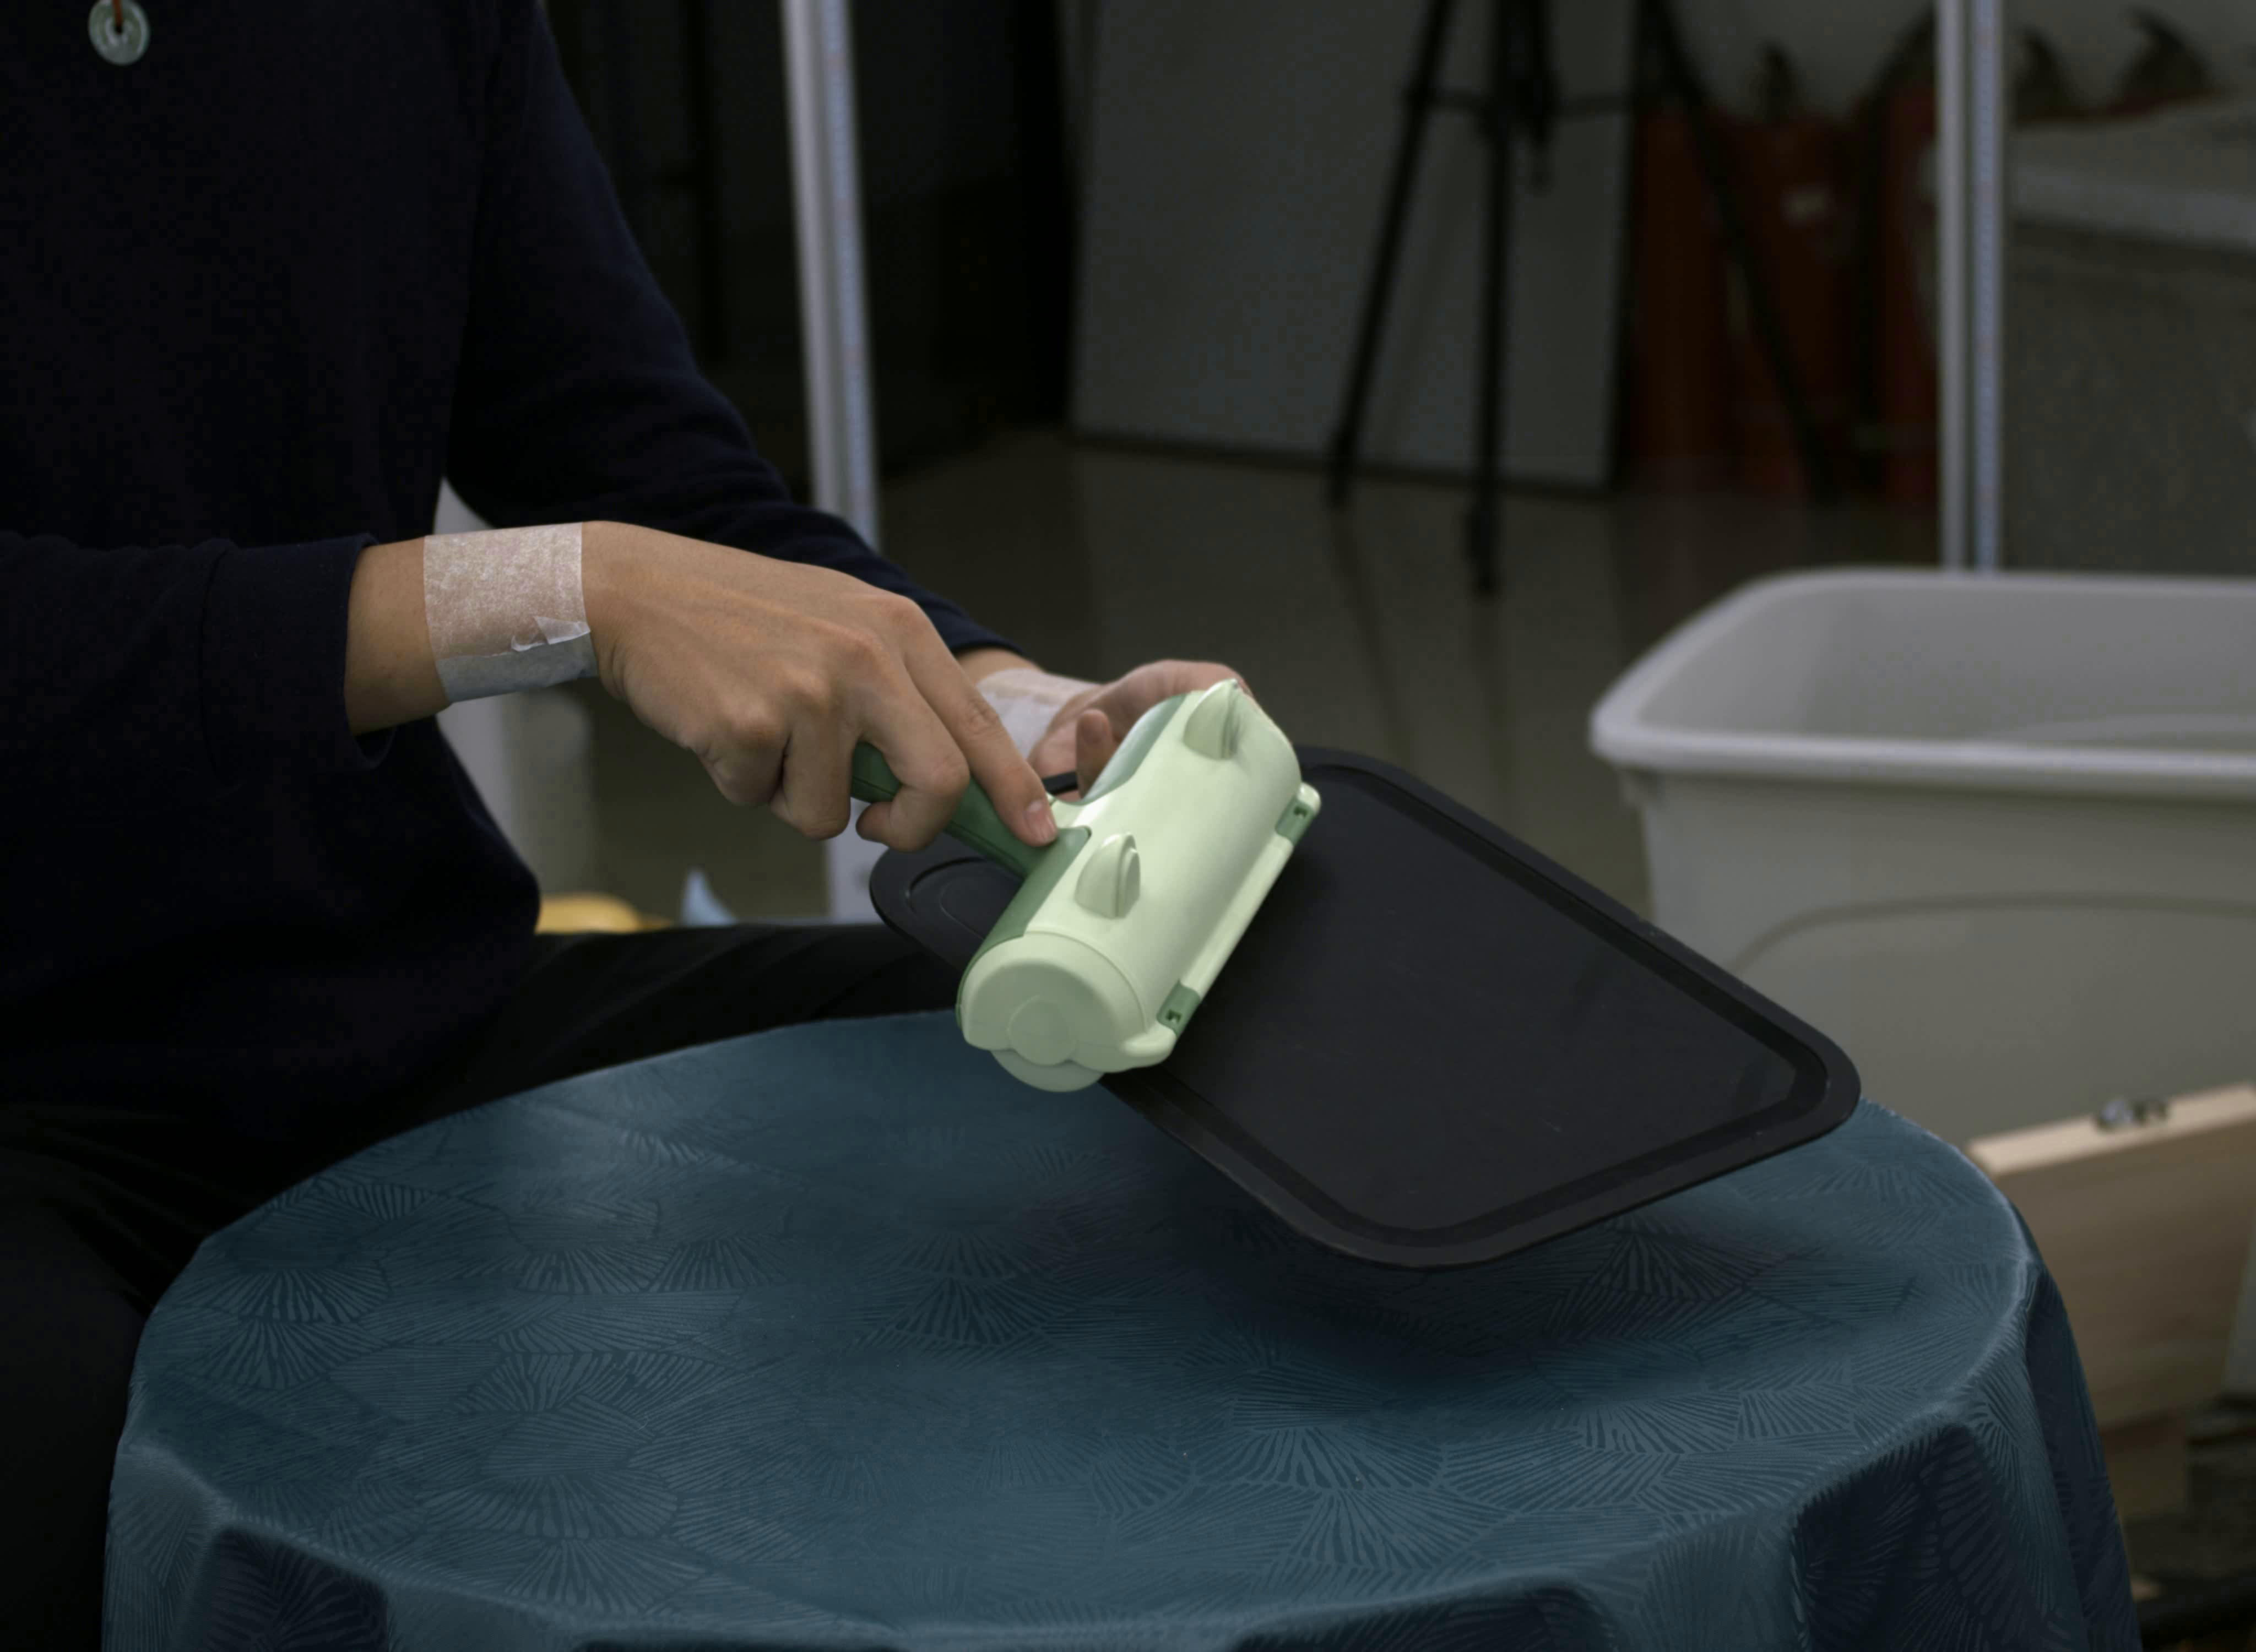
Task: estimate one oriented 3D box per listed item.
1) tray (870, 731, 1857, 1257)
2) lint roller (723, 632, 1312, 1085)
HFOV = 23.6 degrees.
[{"bbox_3d":[0.064,0.043,1.706,0.207,0.010,0.329,-17,33,-30],"label":"tray"},{"bbox_3d":[-0.038,-0.023,1.696,0.182,0.083,0.197,36,31,-1],"label":"lint roller"}]
